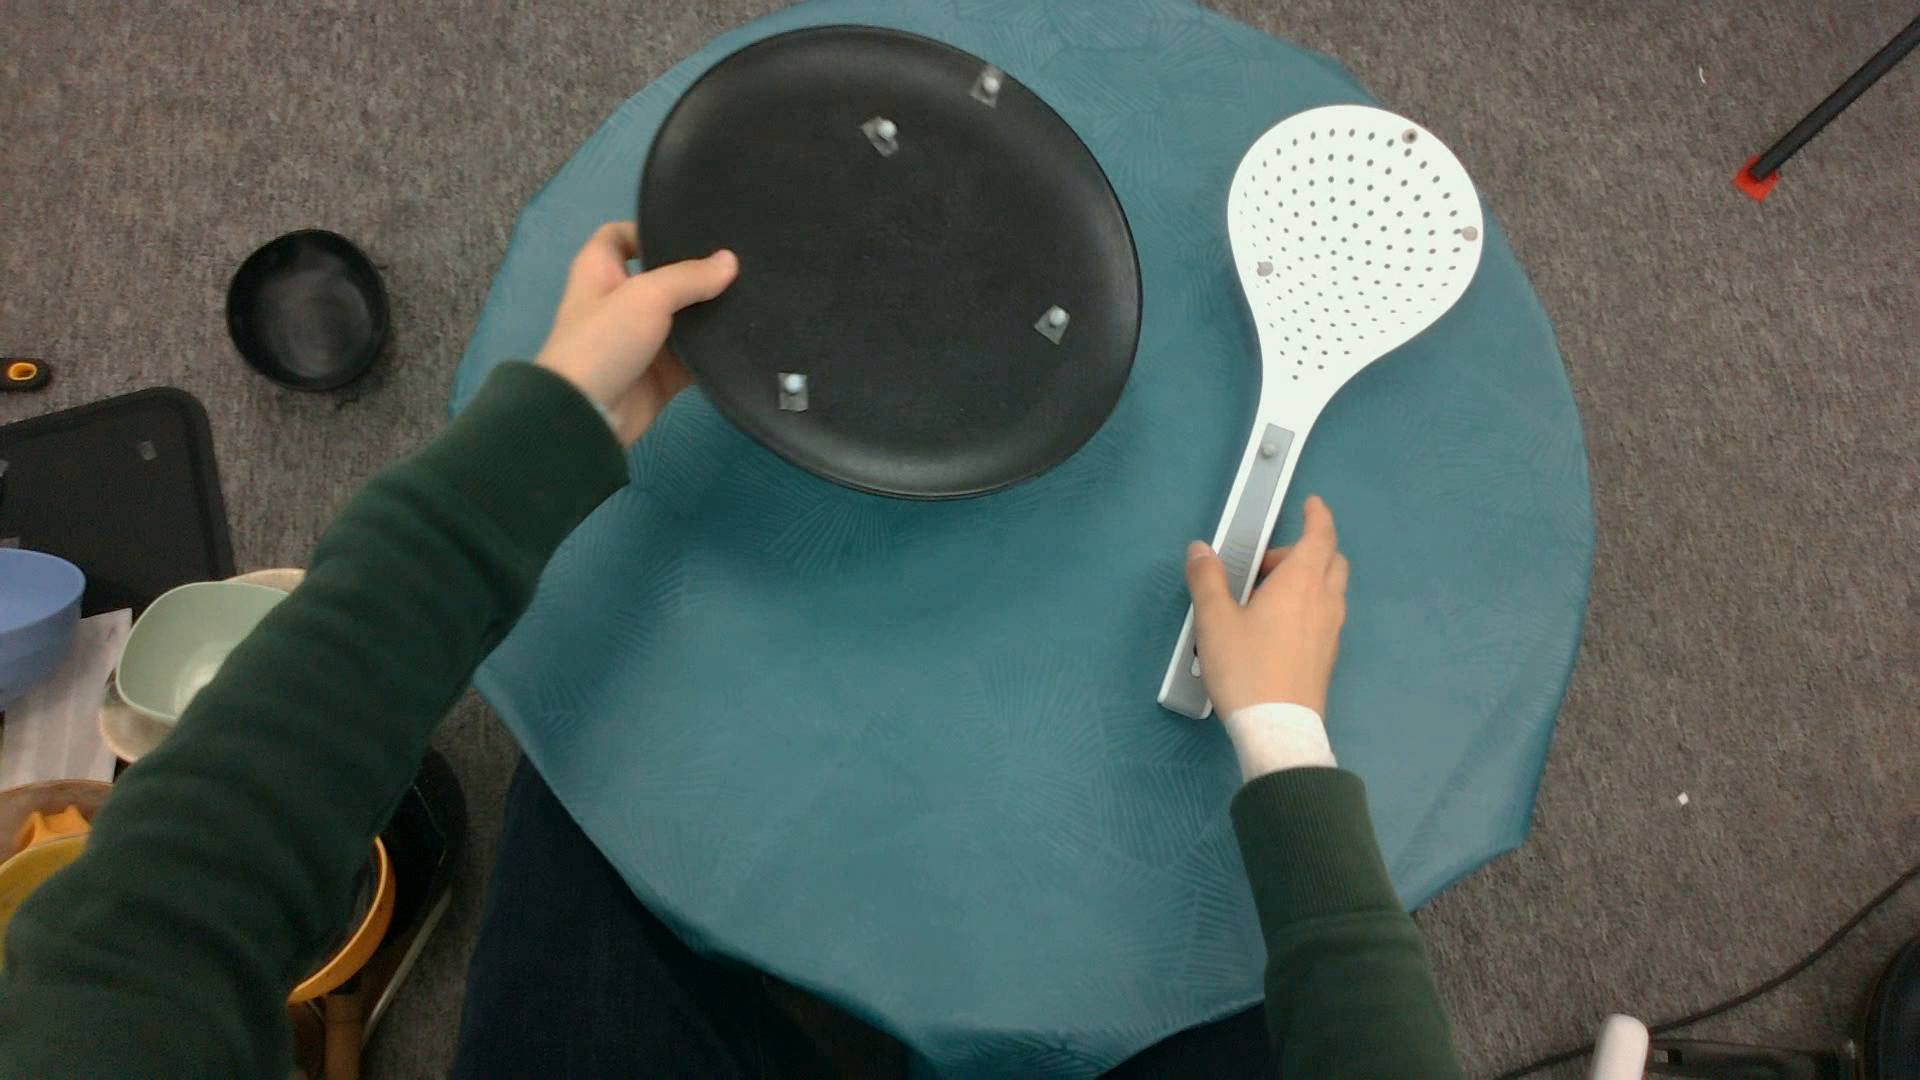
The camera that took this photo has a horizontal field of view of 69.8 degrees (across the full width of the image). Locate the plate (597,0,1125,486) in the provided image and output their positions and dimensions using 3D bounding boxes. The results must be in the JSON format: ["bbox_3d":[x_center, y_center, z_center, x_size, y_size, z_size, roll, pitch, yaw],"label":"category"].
[{"bbox_3d":[-0.040,-0.136,0.626,0.245,0.023,0.245,6,71,-17],"label":"plate"}]

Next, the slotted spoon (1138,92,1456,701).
[{"bbox_3d":[0.161,-0.082,0.721,0.136,0.045,0.351,20,71,3],"label":"slotted spoon"}]
